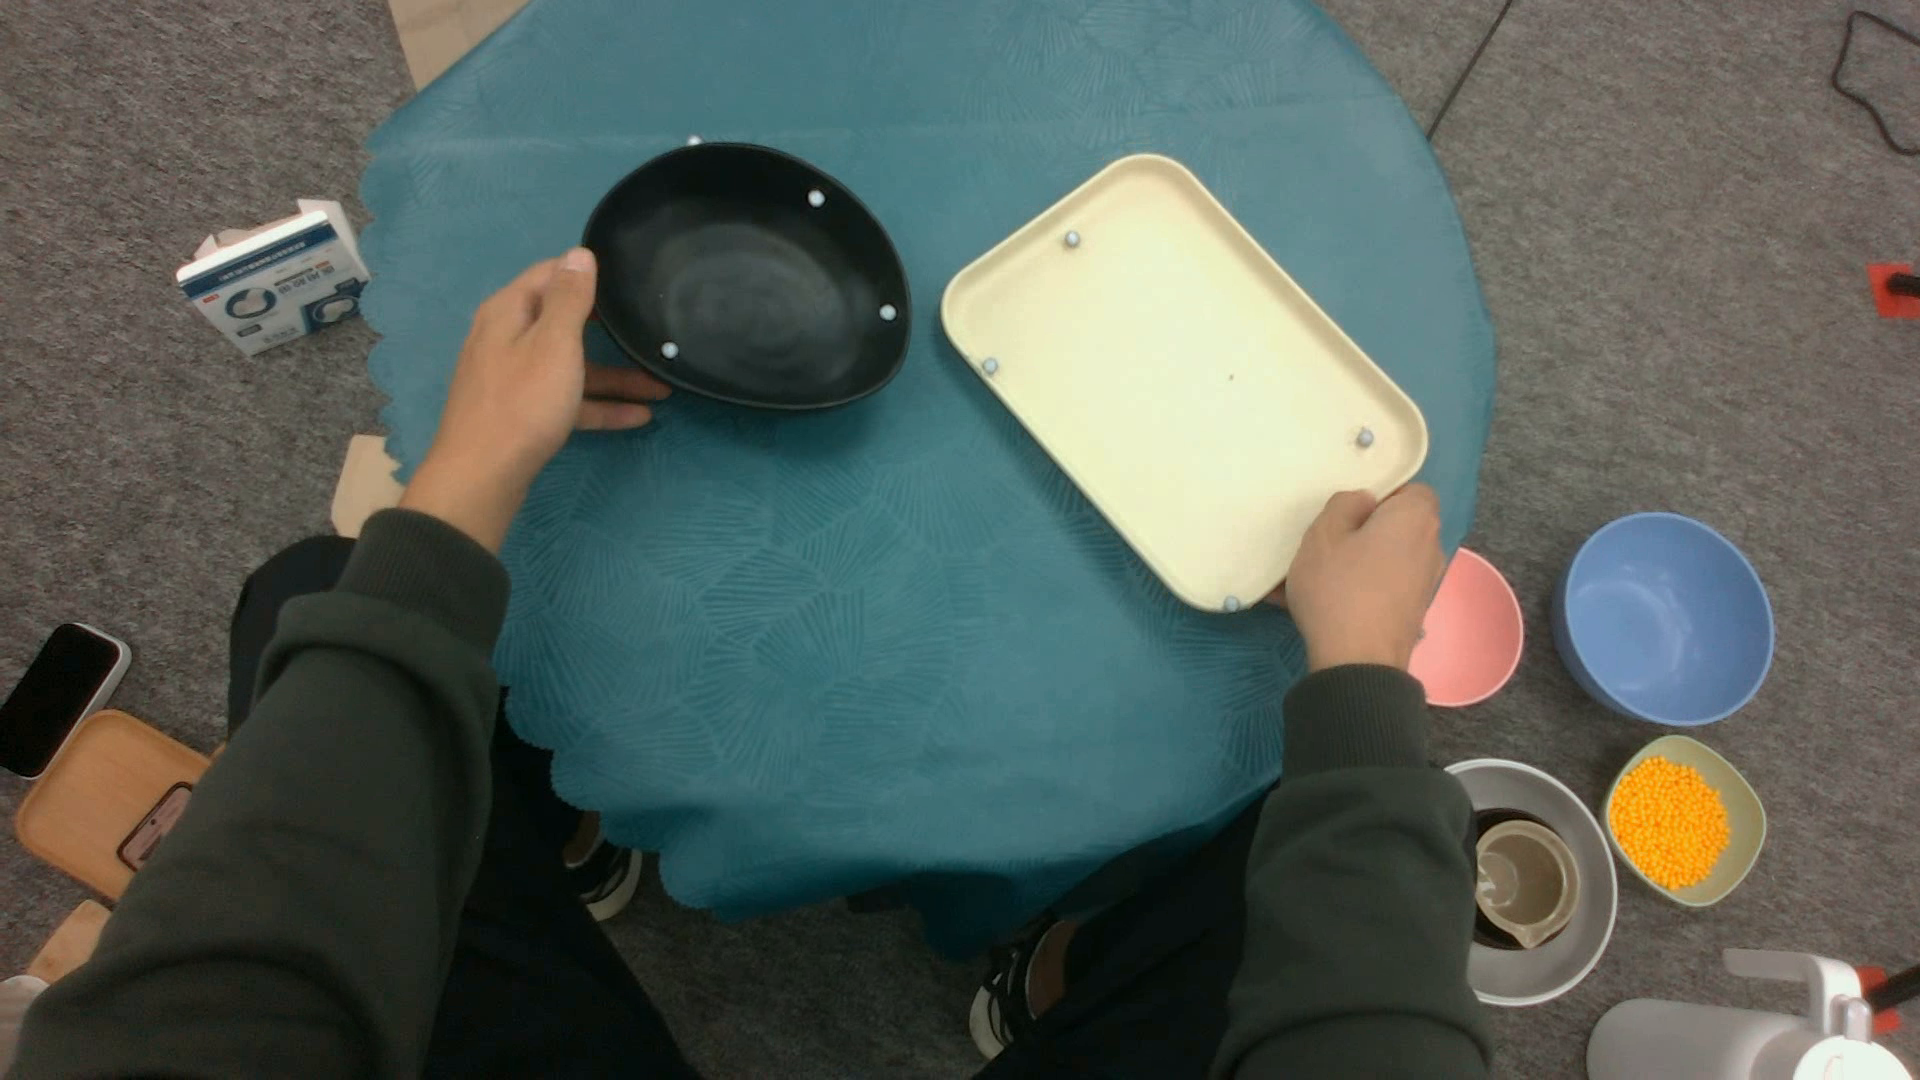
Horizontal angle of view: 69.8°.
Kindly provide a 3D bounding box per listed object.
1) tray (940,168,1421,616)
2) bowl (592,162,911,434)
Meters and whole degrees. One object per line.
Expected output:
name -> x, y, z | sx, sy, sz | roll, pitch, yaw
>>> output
tray -> 0.117, -0.085, 0.748 | 0.171, 0.017, 0.240 | -37, 75, -14
bowl -> -0.106, -0.119, 0.724 | 0.170, 0.066, 0.137 | 24, 75, -1
